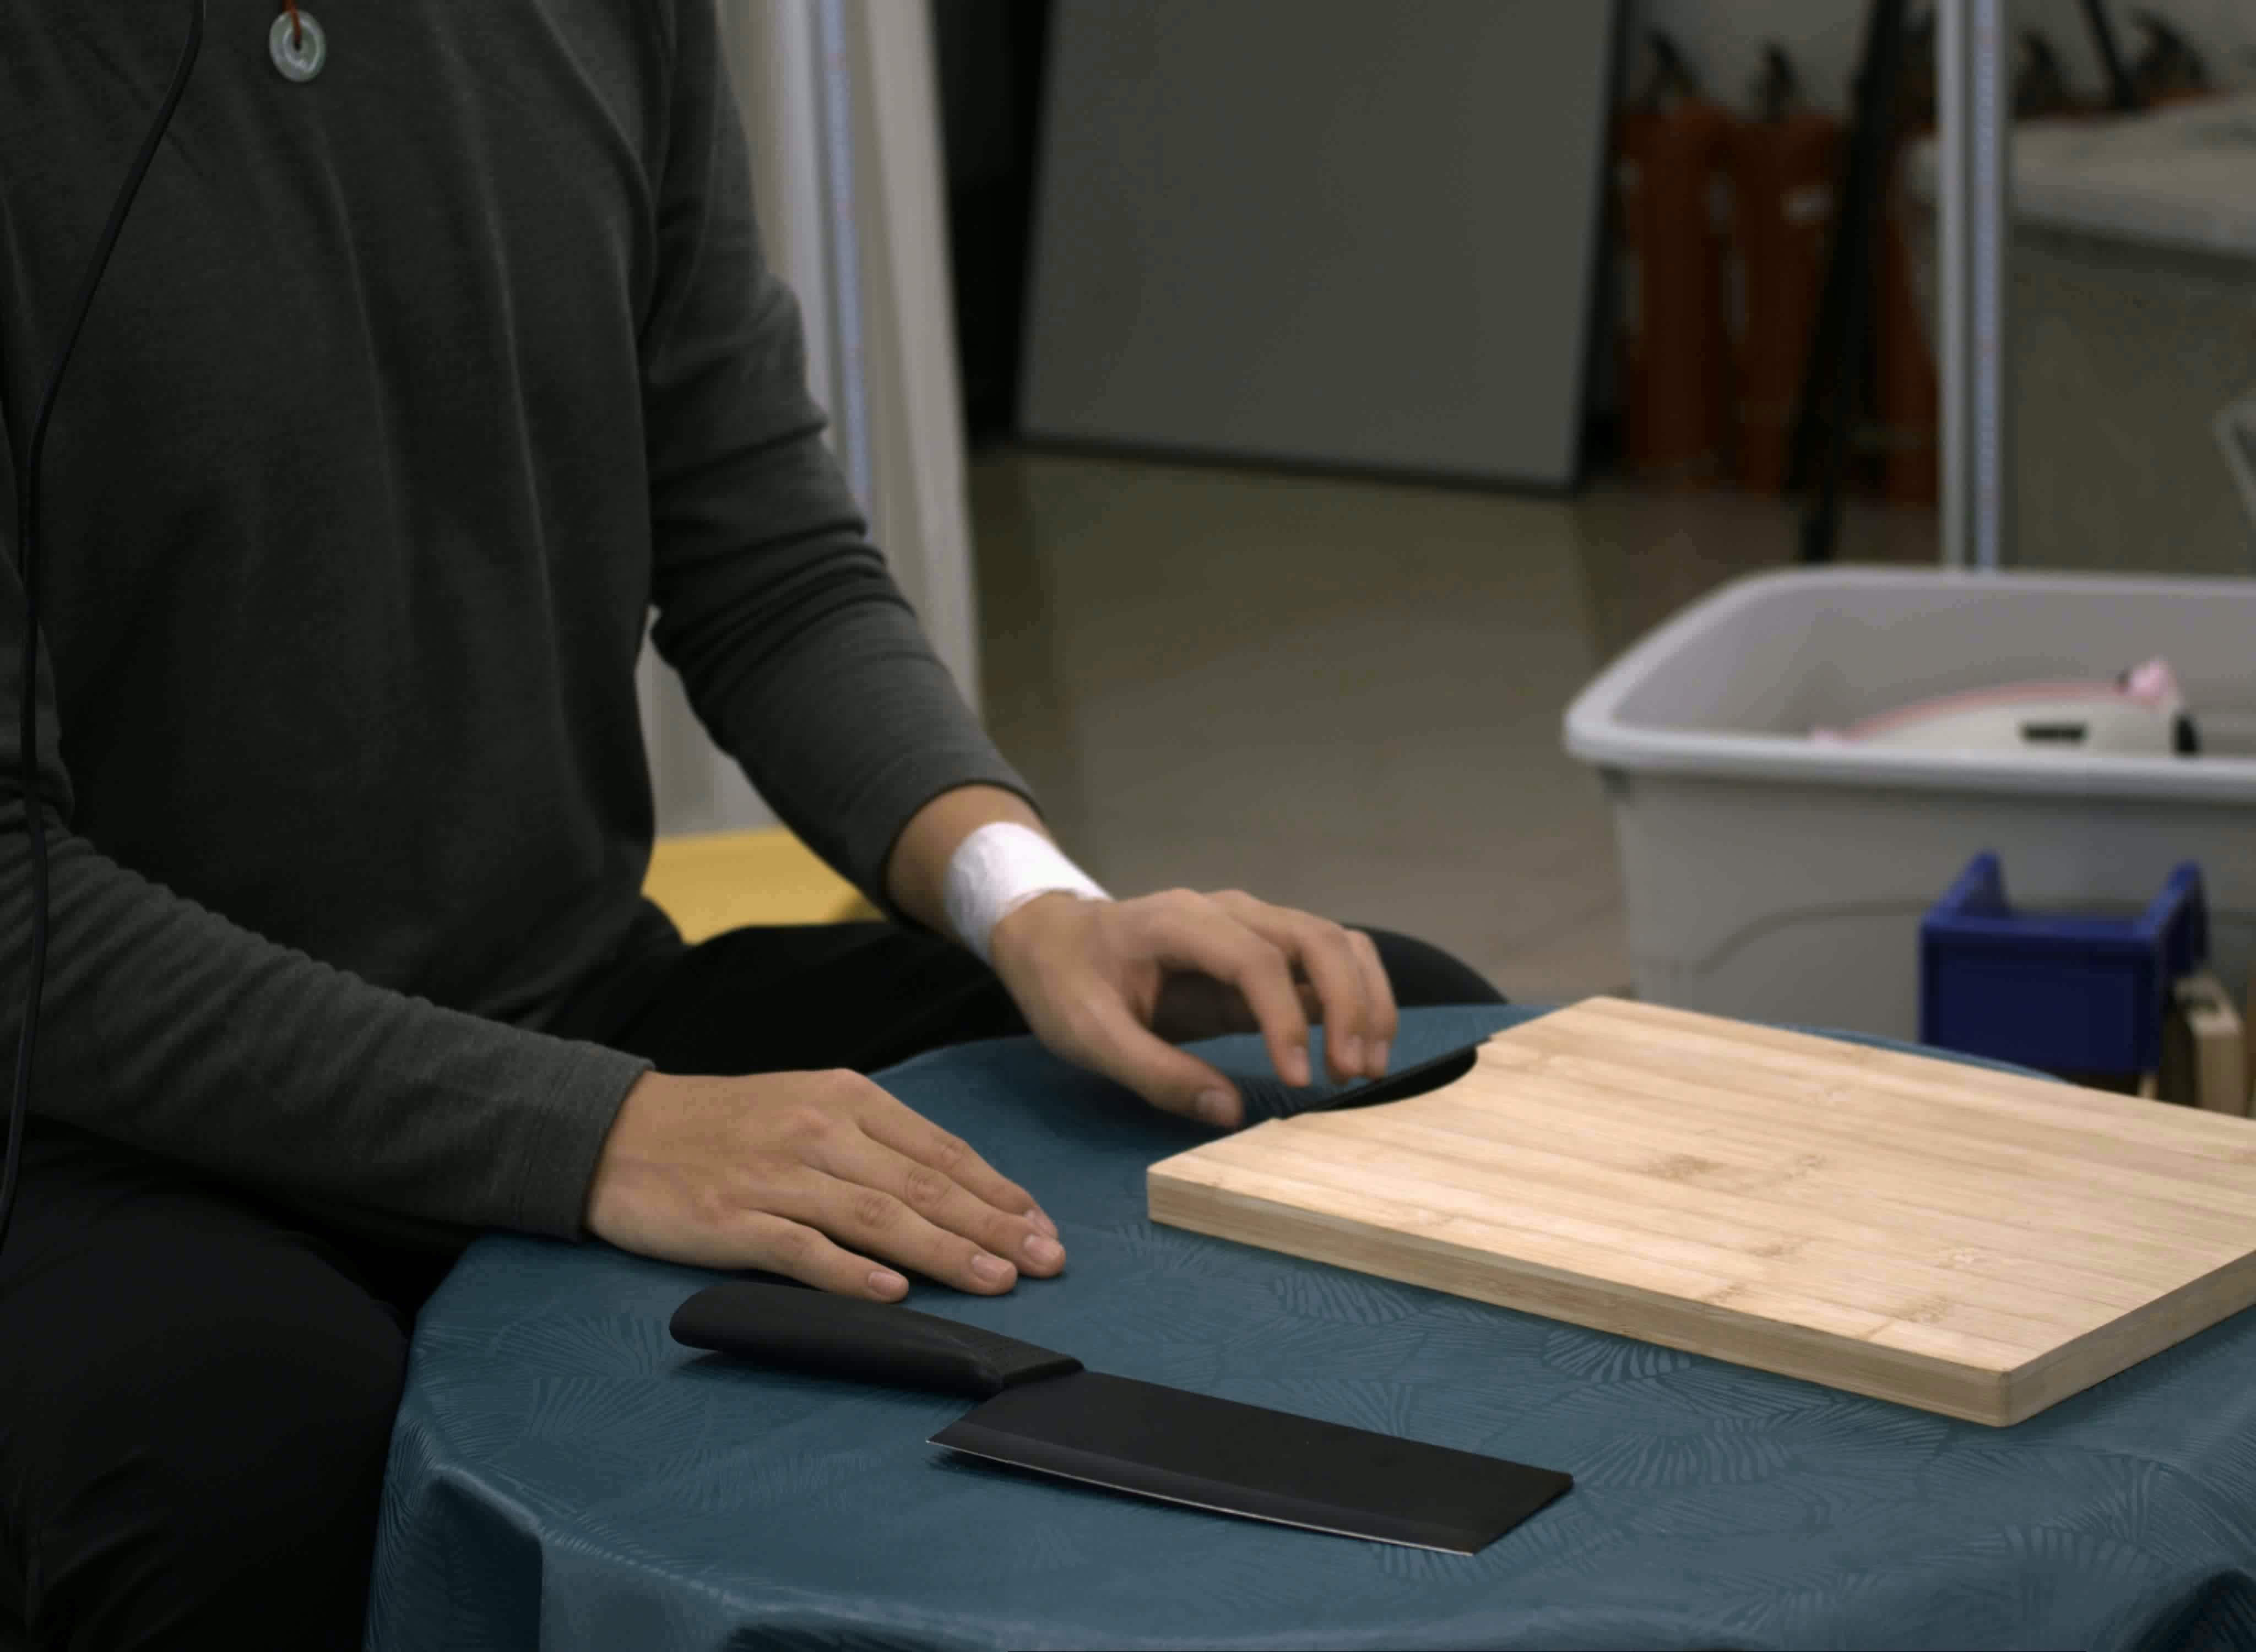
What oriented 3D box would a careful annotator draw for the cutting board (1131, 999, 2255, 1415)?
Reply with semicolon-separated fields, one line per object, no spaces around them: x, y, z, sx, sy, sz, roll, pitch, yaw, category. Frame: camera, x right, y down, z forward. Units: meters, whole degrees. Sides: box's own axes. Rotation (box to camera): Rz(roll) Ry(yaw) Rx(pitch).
0.204;0.115;1.707;0.352;0.024;0.245;9;18;44;cutting board

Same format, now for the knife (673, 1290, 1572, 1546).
-0.012;0.170;1.550;0.304;0.021;0.079;9;20;38;knife
